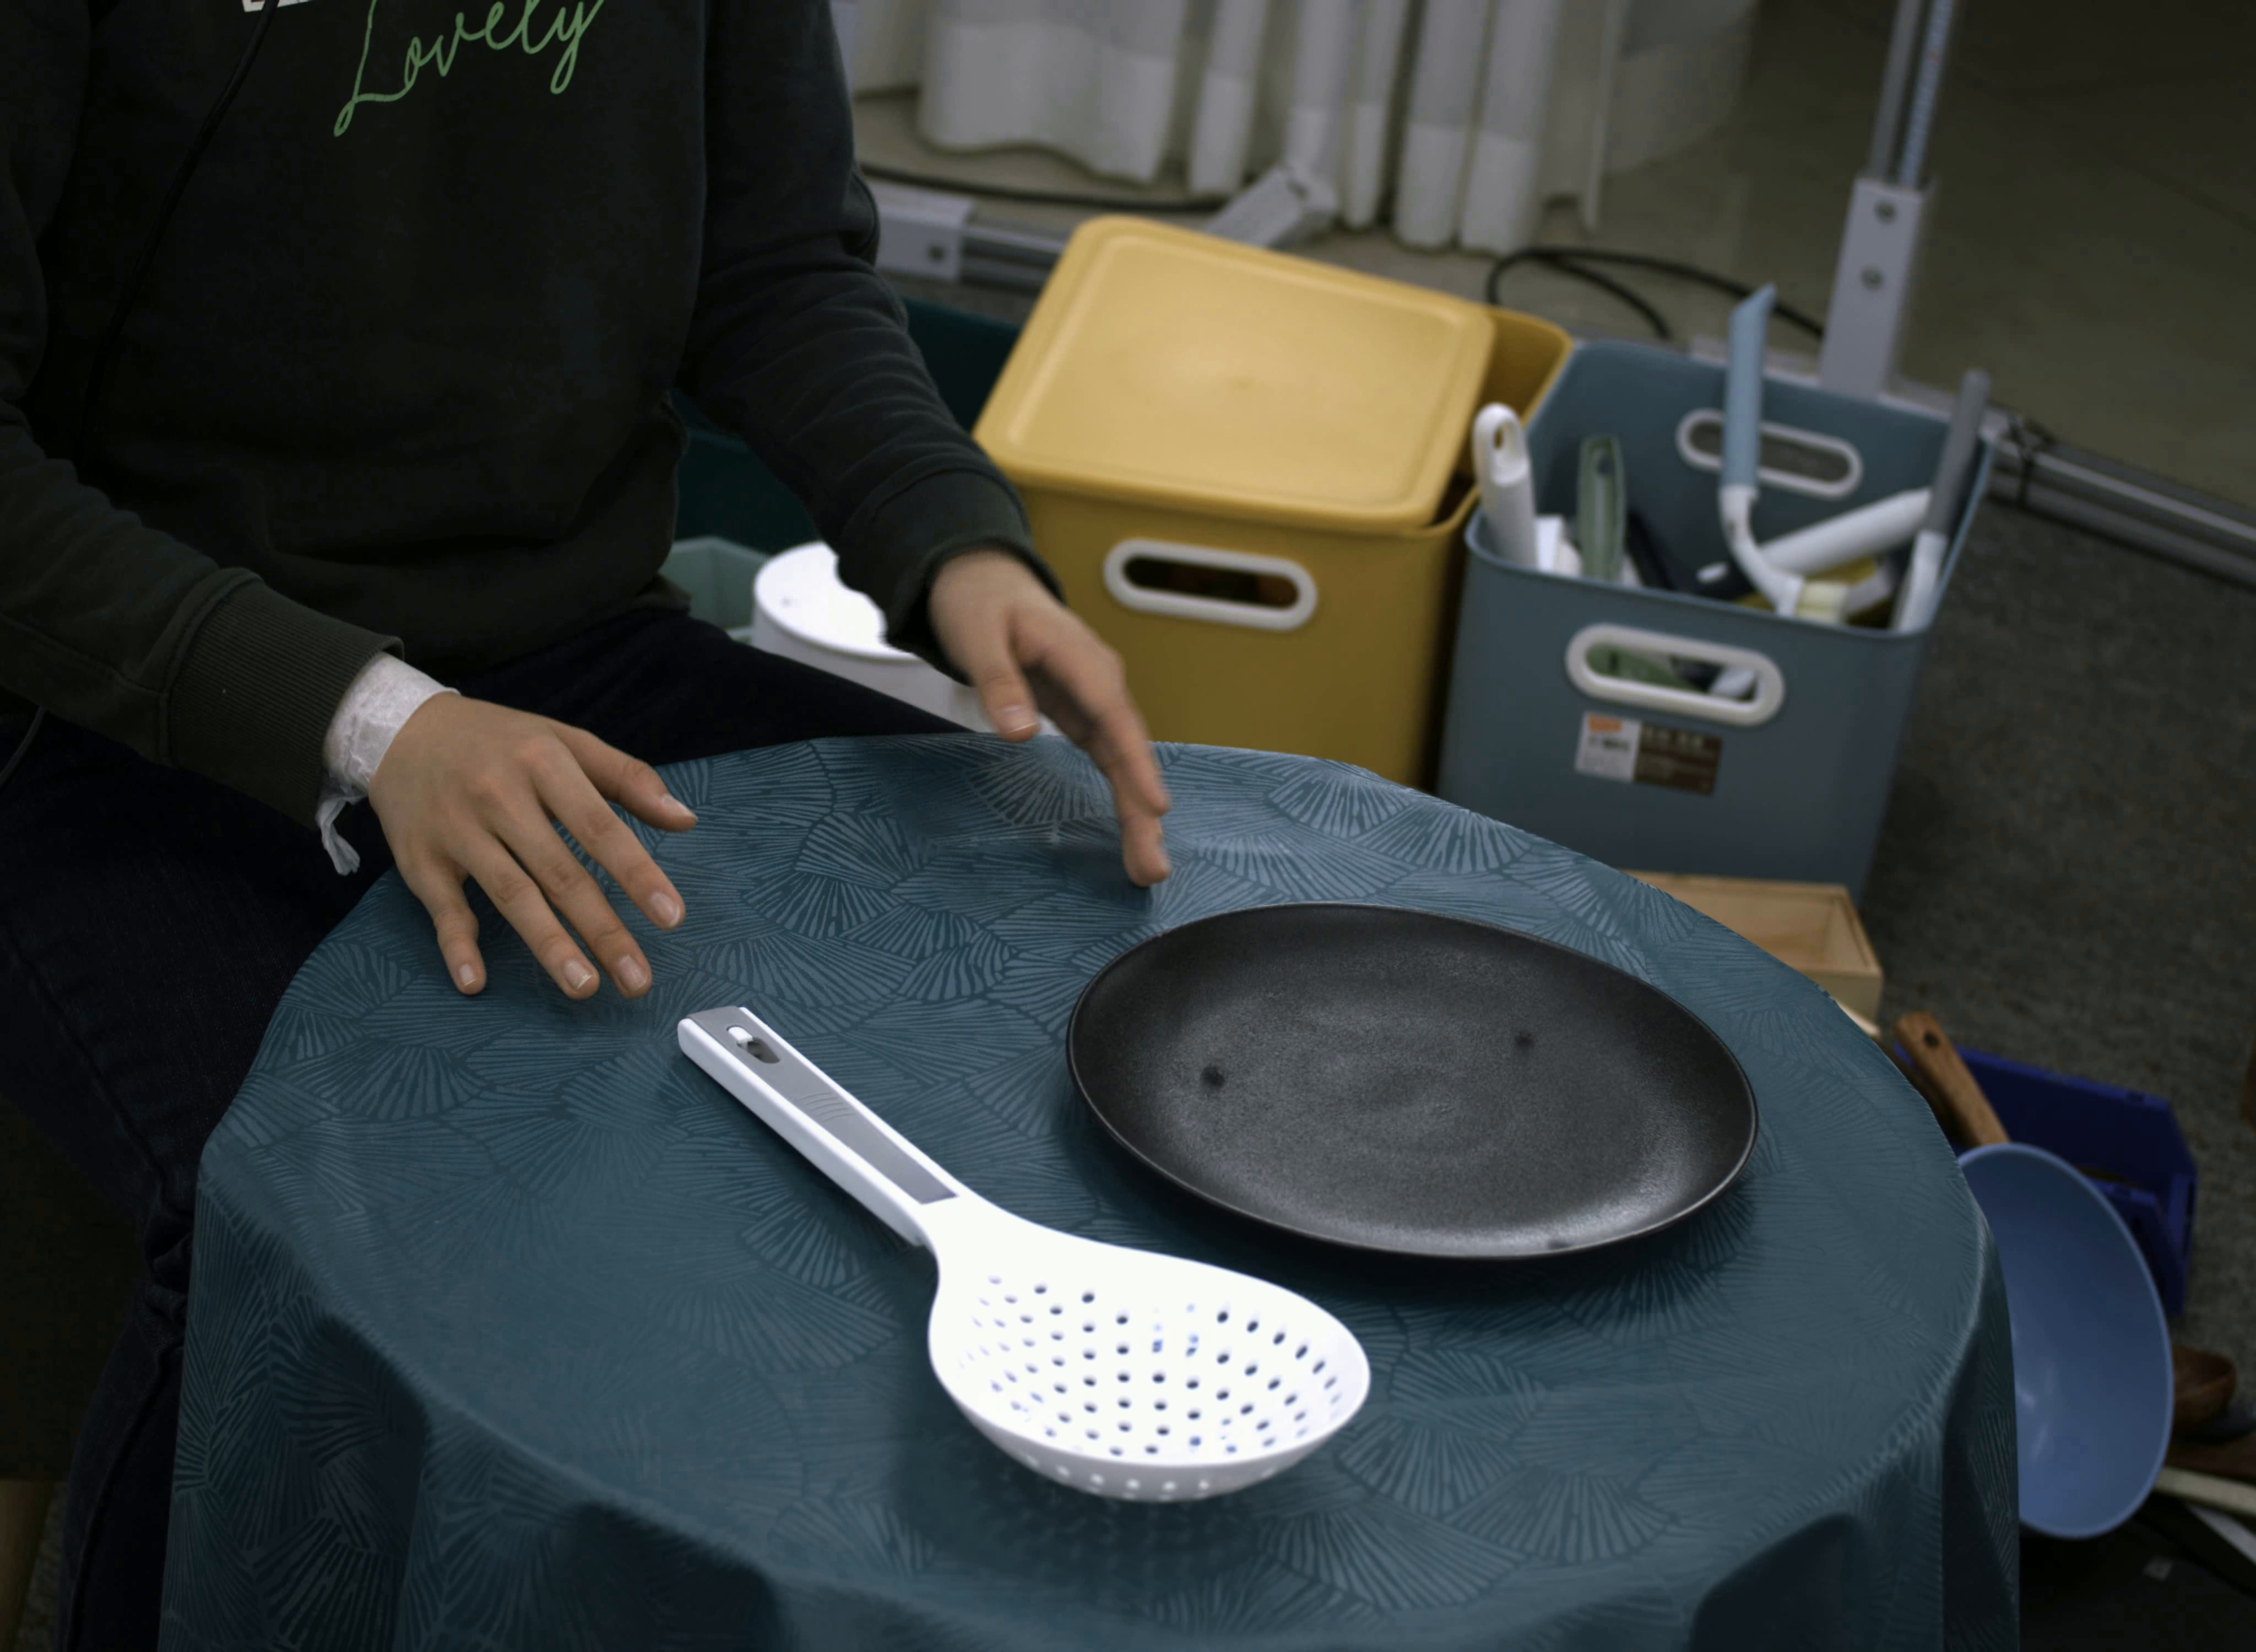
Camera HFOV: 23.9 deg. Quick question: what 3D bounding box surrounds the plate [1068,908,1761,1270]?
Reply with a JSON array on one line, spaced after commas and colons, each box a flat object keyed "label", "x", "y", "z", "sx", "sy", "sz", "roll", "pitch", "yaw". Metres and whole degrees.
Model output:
[{"label": "plate", "x": 0.099, "y": 0.095, "z": 1.854, "sx": 0.243, "sy": 0.023, "sz": 0.246, "roll": 5, "pitch": 27, "yaw": -3}]

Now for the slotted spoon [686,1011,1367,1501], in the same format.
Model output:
[{"label": "slotted spoon", "x": -0.052, "y": 0.133, "z": 1.721, "sx": 0.135, "sy": 0.045, "sz": 0.353, "roll": -9, "pitch": 29, "yaw": -31}]
